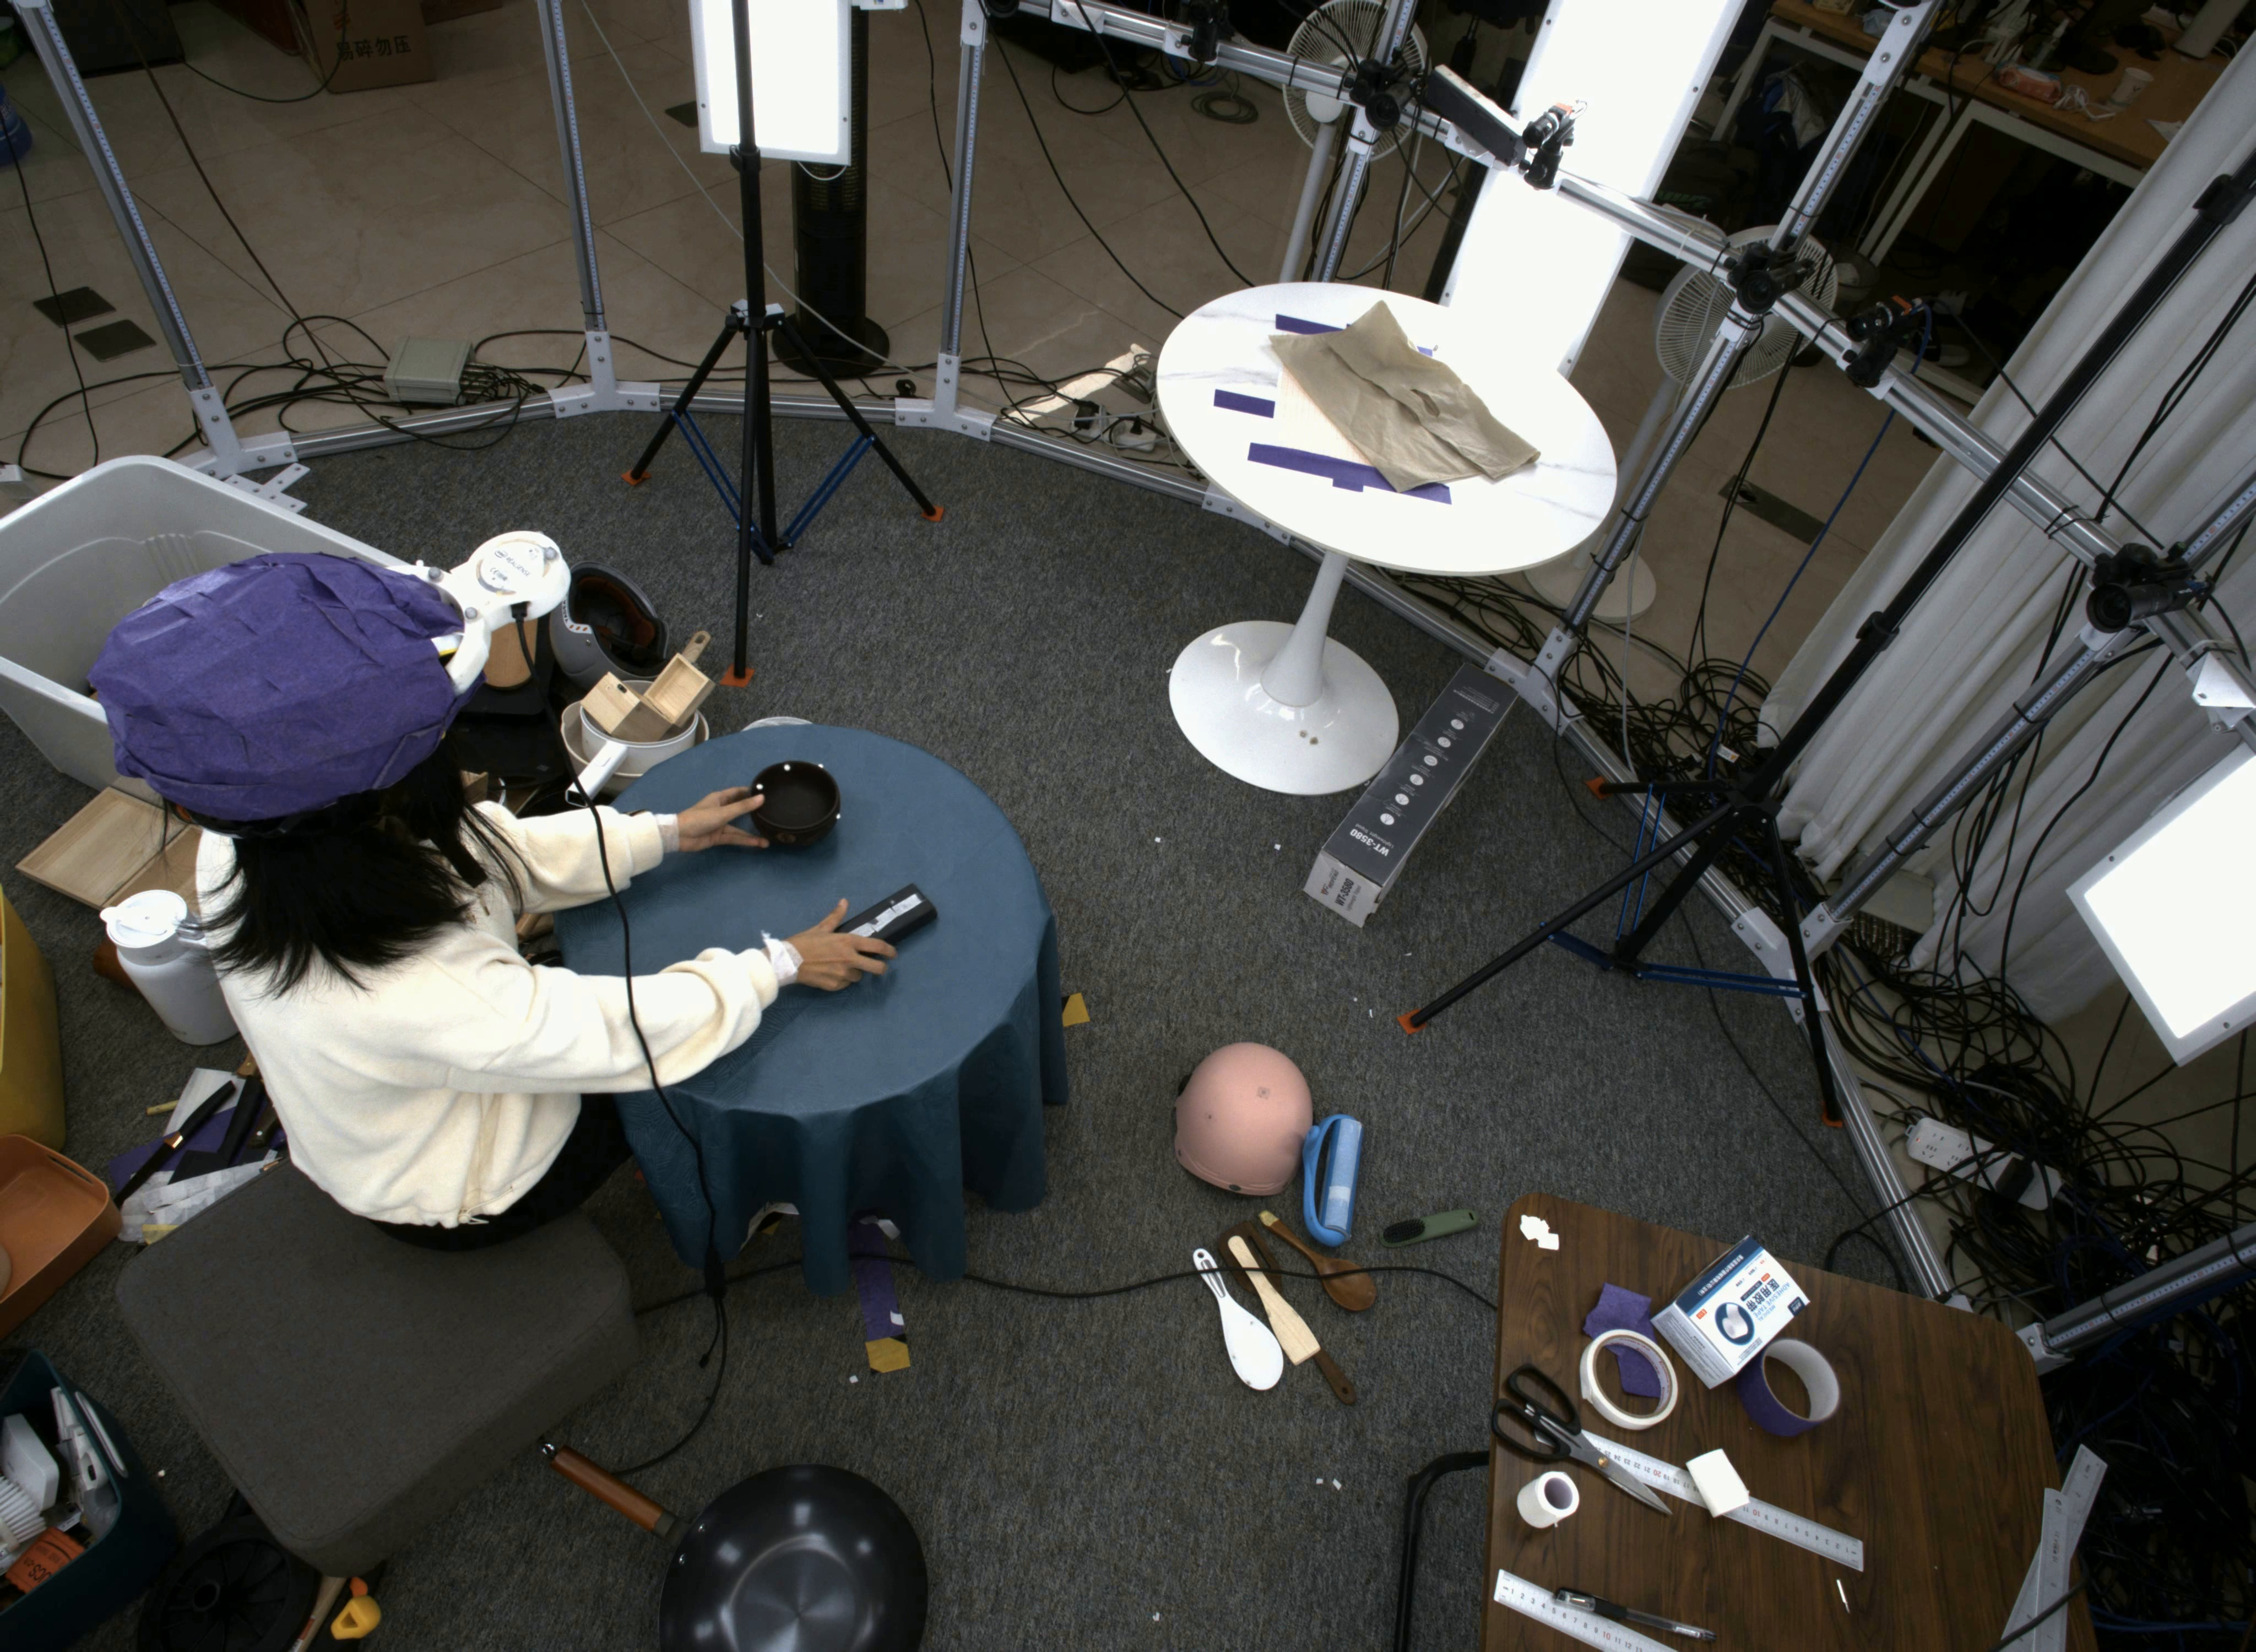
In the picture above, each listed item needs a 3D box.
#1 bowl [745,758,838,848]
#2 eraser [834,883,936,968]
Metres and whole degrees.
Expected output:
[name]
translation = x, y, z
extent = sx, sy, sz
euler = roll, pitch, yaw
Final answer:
[bowl]
translation = -0.437, -0.023, 1.686
extent = 0.118, 0.071, 0.116
euler = 7, 53, -8
[eraser]
translation = -0.306, 0.122, 1.642
extent = 0.126, 0.031, 0.052
euler = -35, 66, -31
